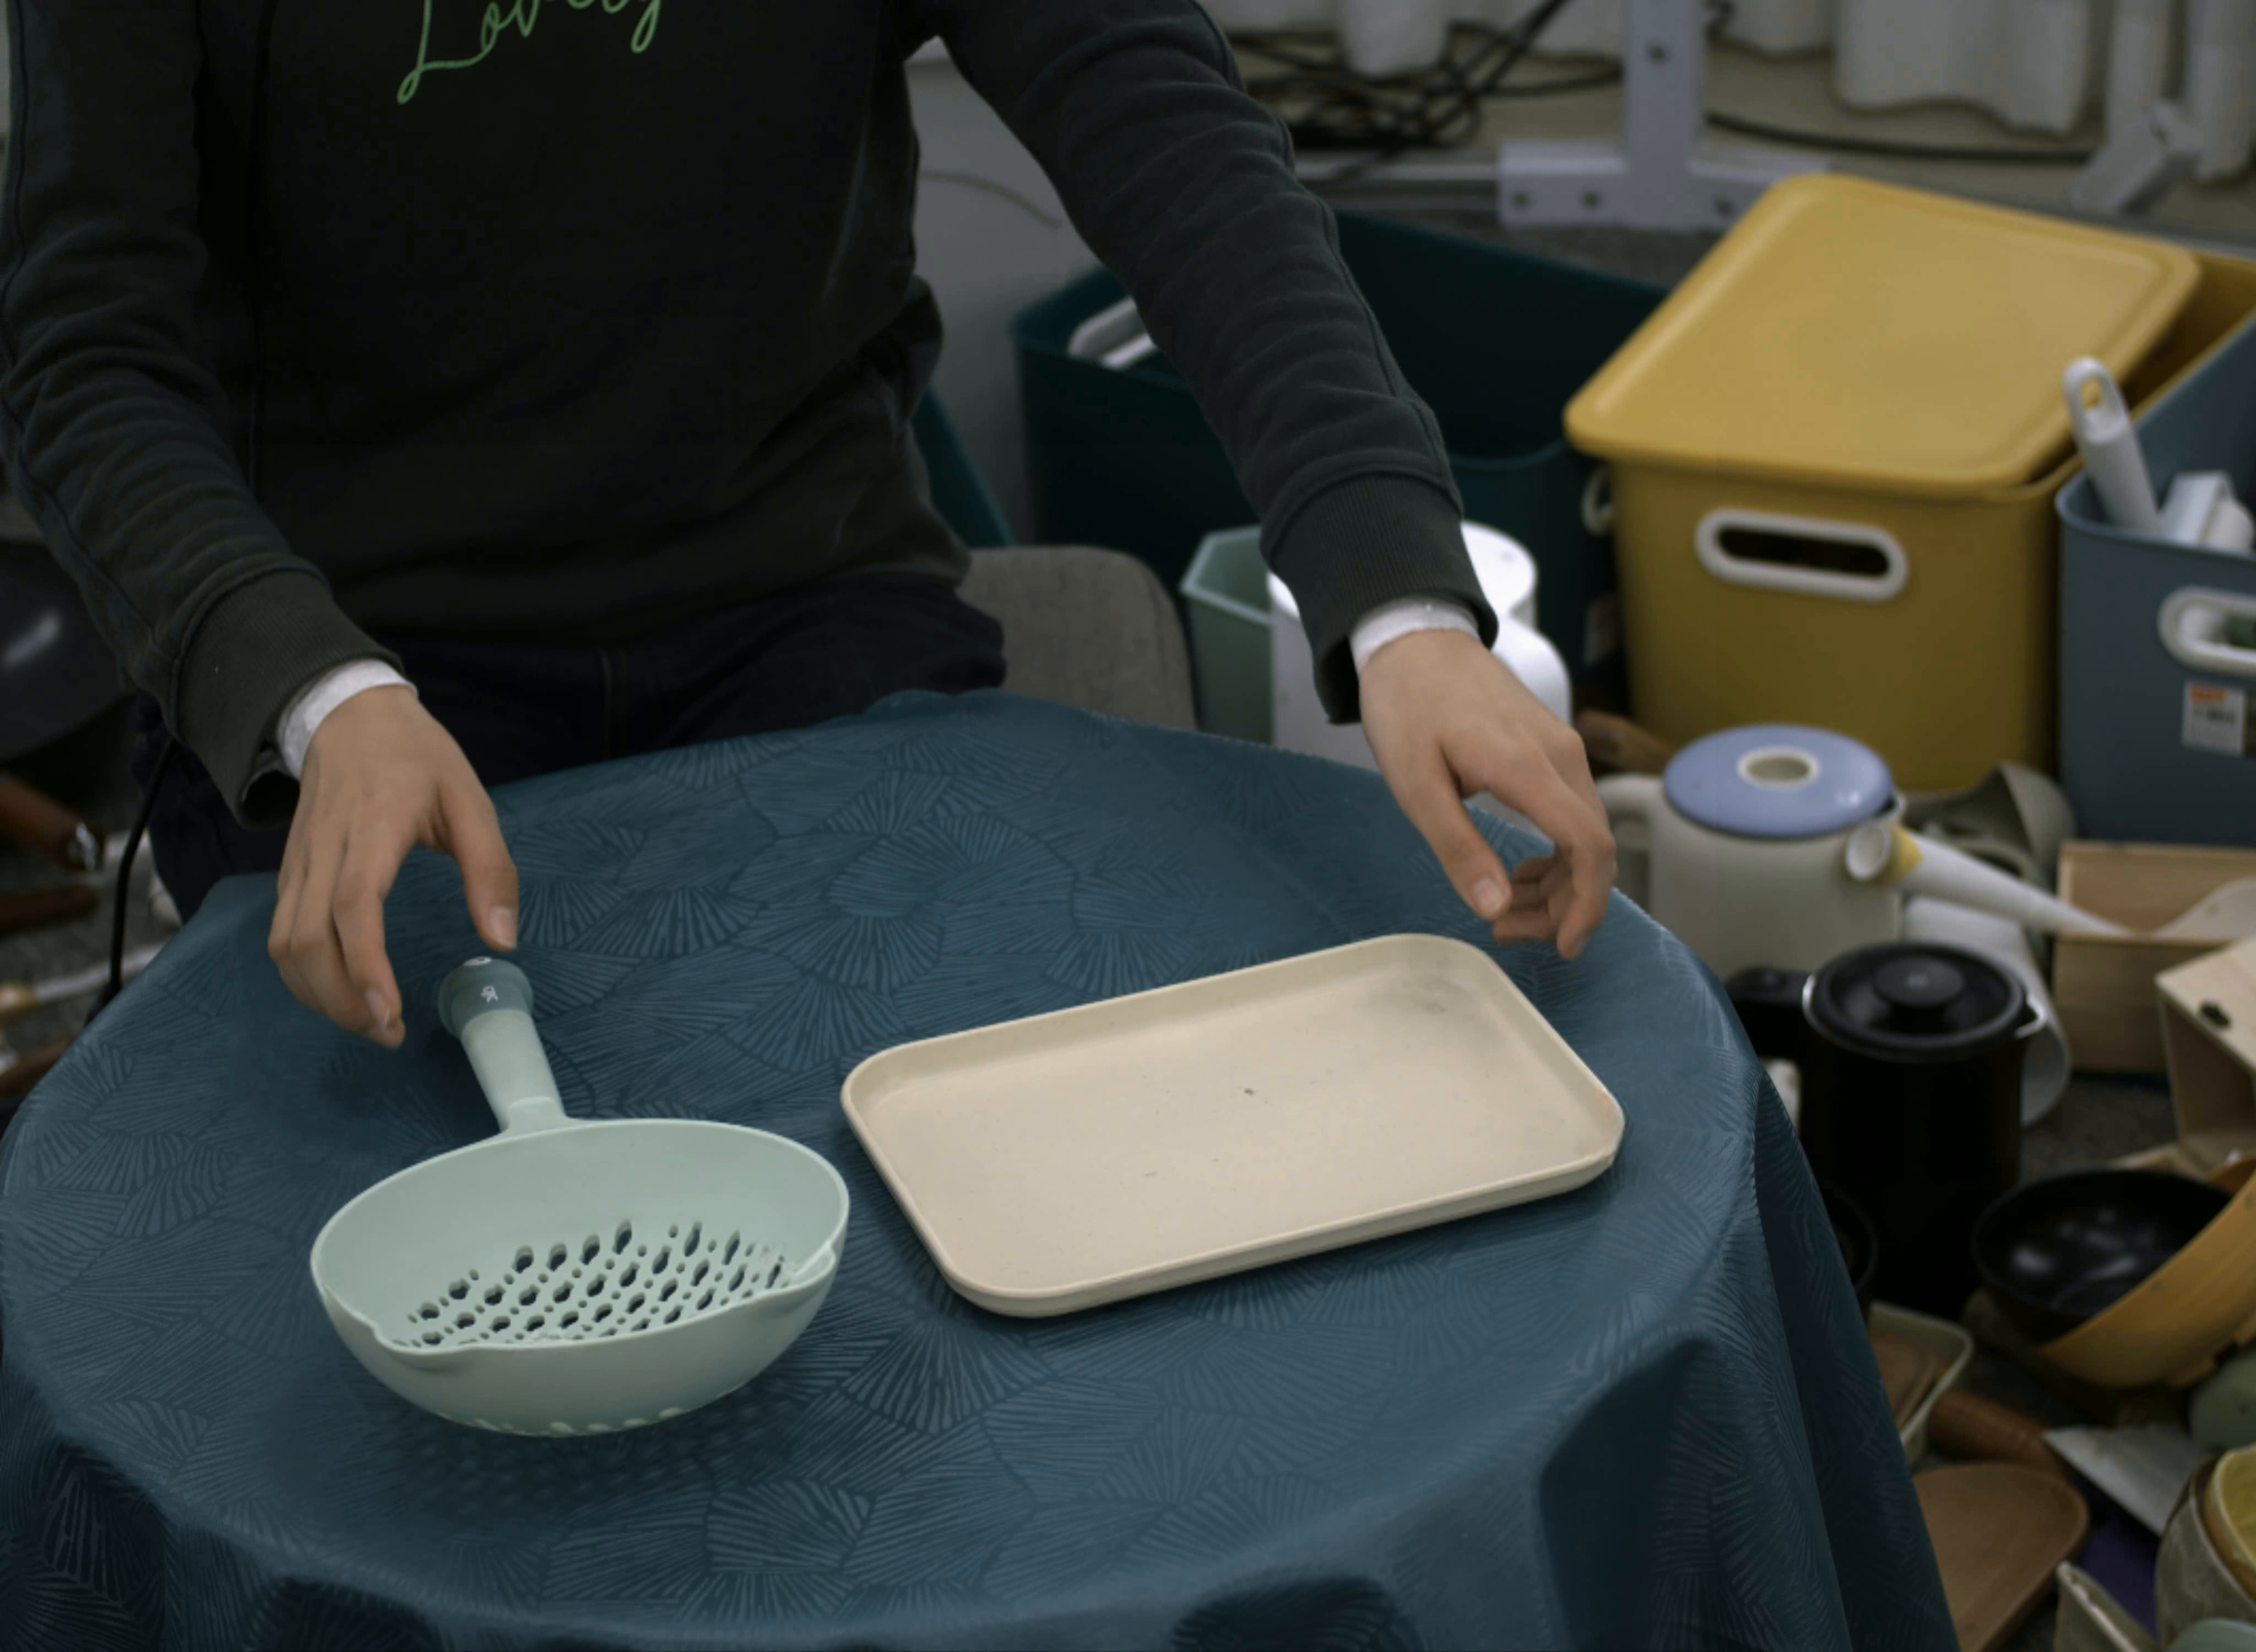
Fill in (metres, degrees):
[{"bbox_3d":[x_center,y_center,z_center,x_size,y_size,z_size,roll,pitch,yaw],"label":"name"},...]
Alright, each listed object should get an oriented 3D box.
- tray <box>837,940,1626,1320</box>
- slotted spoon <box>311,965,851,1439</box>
[{"bbox_3d":[0.033,0.101,1.880,0.240,0.017,0.173,-11,29,-17],"label":"tray"},{"bbox_3d":[-0.191,0.107,1.840,0.169,0.074,0.362,-8,27,-11],"label":"slotted spoon"}]
